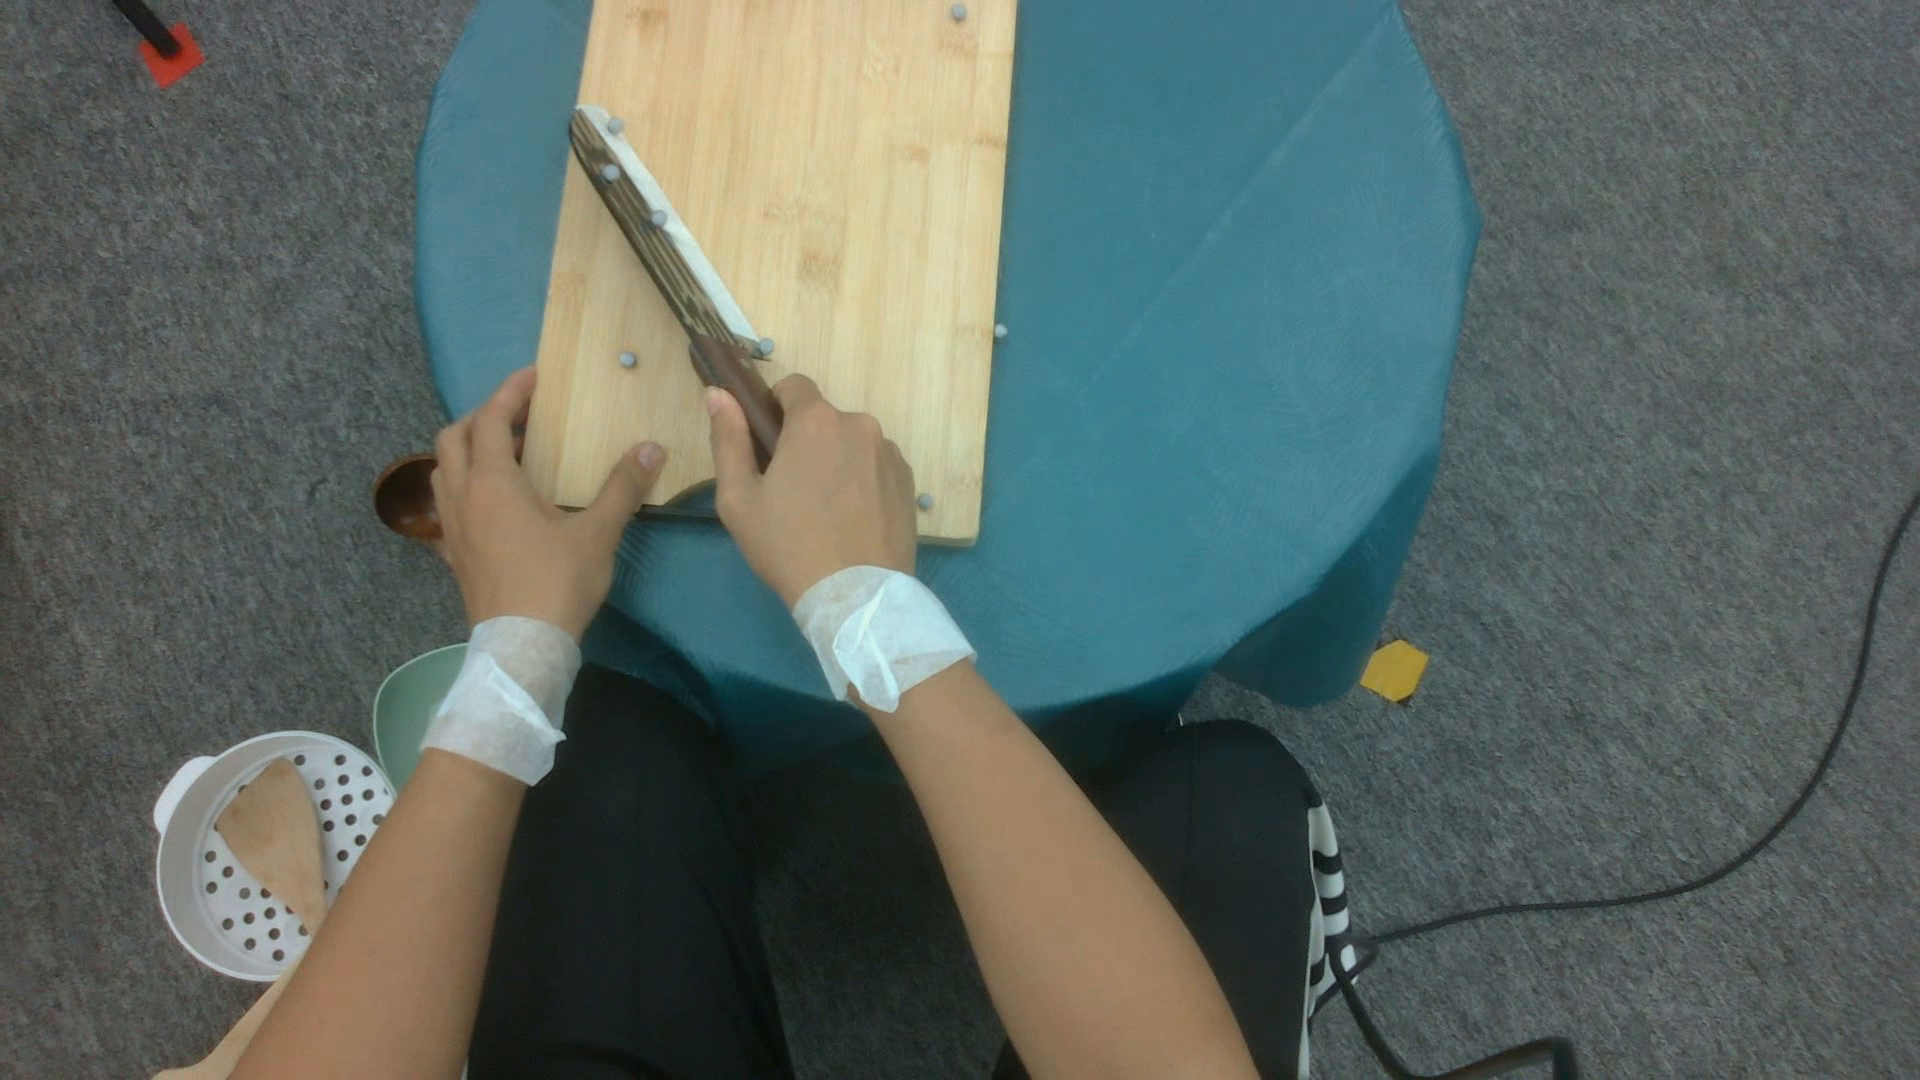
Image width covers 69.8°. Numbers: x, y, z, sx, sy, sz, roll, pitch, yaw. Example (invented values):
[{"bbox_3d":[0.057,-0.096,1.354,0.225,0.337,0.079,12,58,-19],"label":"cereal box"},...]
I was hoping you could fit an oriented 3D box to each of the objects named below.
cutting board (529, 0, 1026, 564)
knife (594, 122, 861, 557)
[{"bbox_3d":[-0.095,-0.163,0.781,0.251,0.023,0.349,3,75,-1],"label":"cutting board"},{"bbox_3d":[-0.122,-0.115,0.721,0.024,0.068,0.300,-40,72,22],"label":"knife"}]
